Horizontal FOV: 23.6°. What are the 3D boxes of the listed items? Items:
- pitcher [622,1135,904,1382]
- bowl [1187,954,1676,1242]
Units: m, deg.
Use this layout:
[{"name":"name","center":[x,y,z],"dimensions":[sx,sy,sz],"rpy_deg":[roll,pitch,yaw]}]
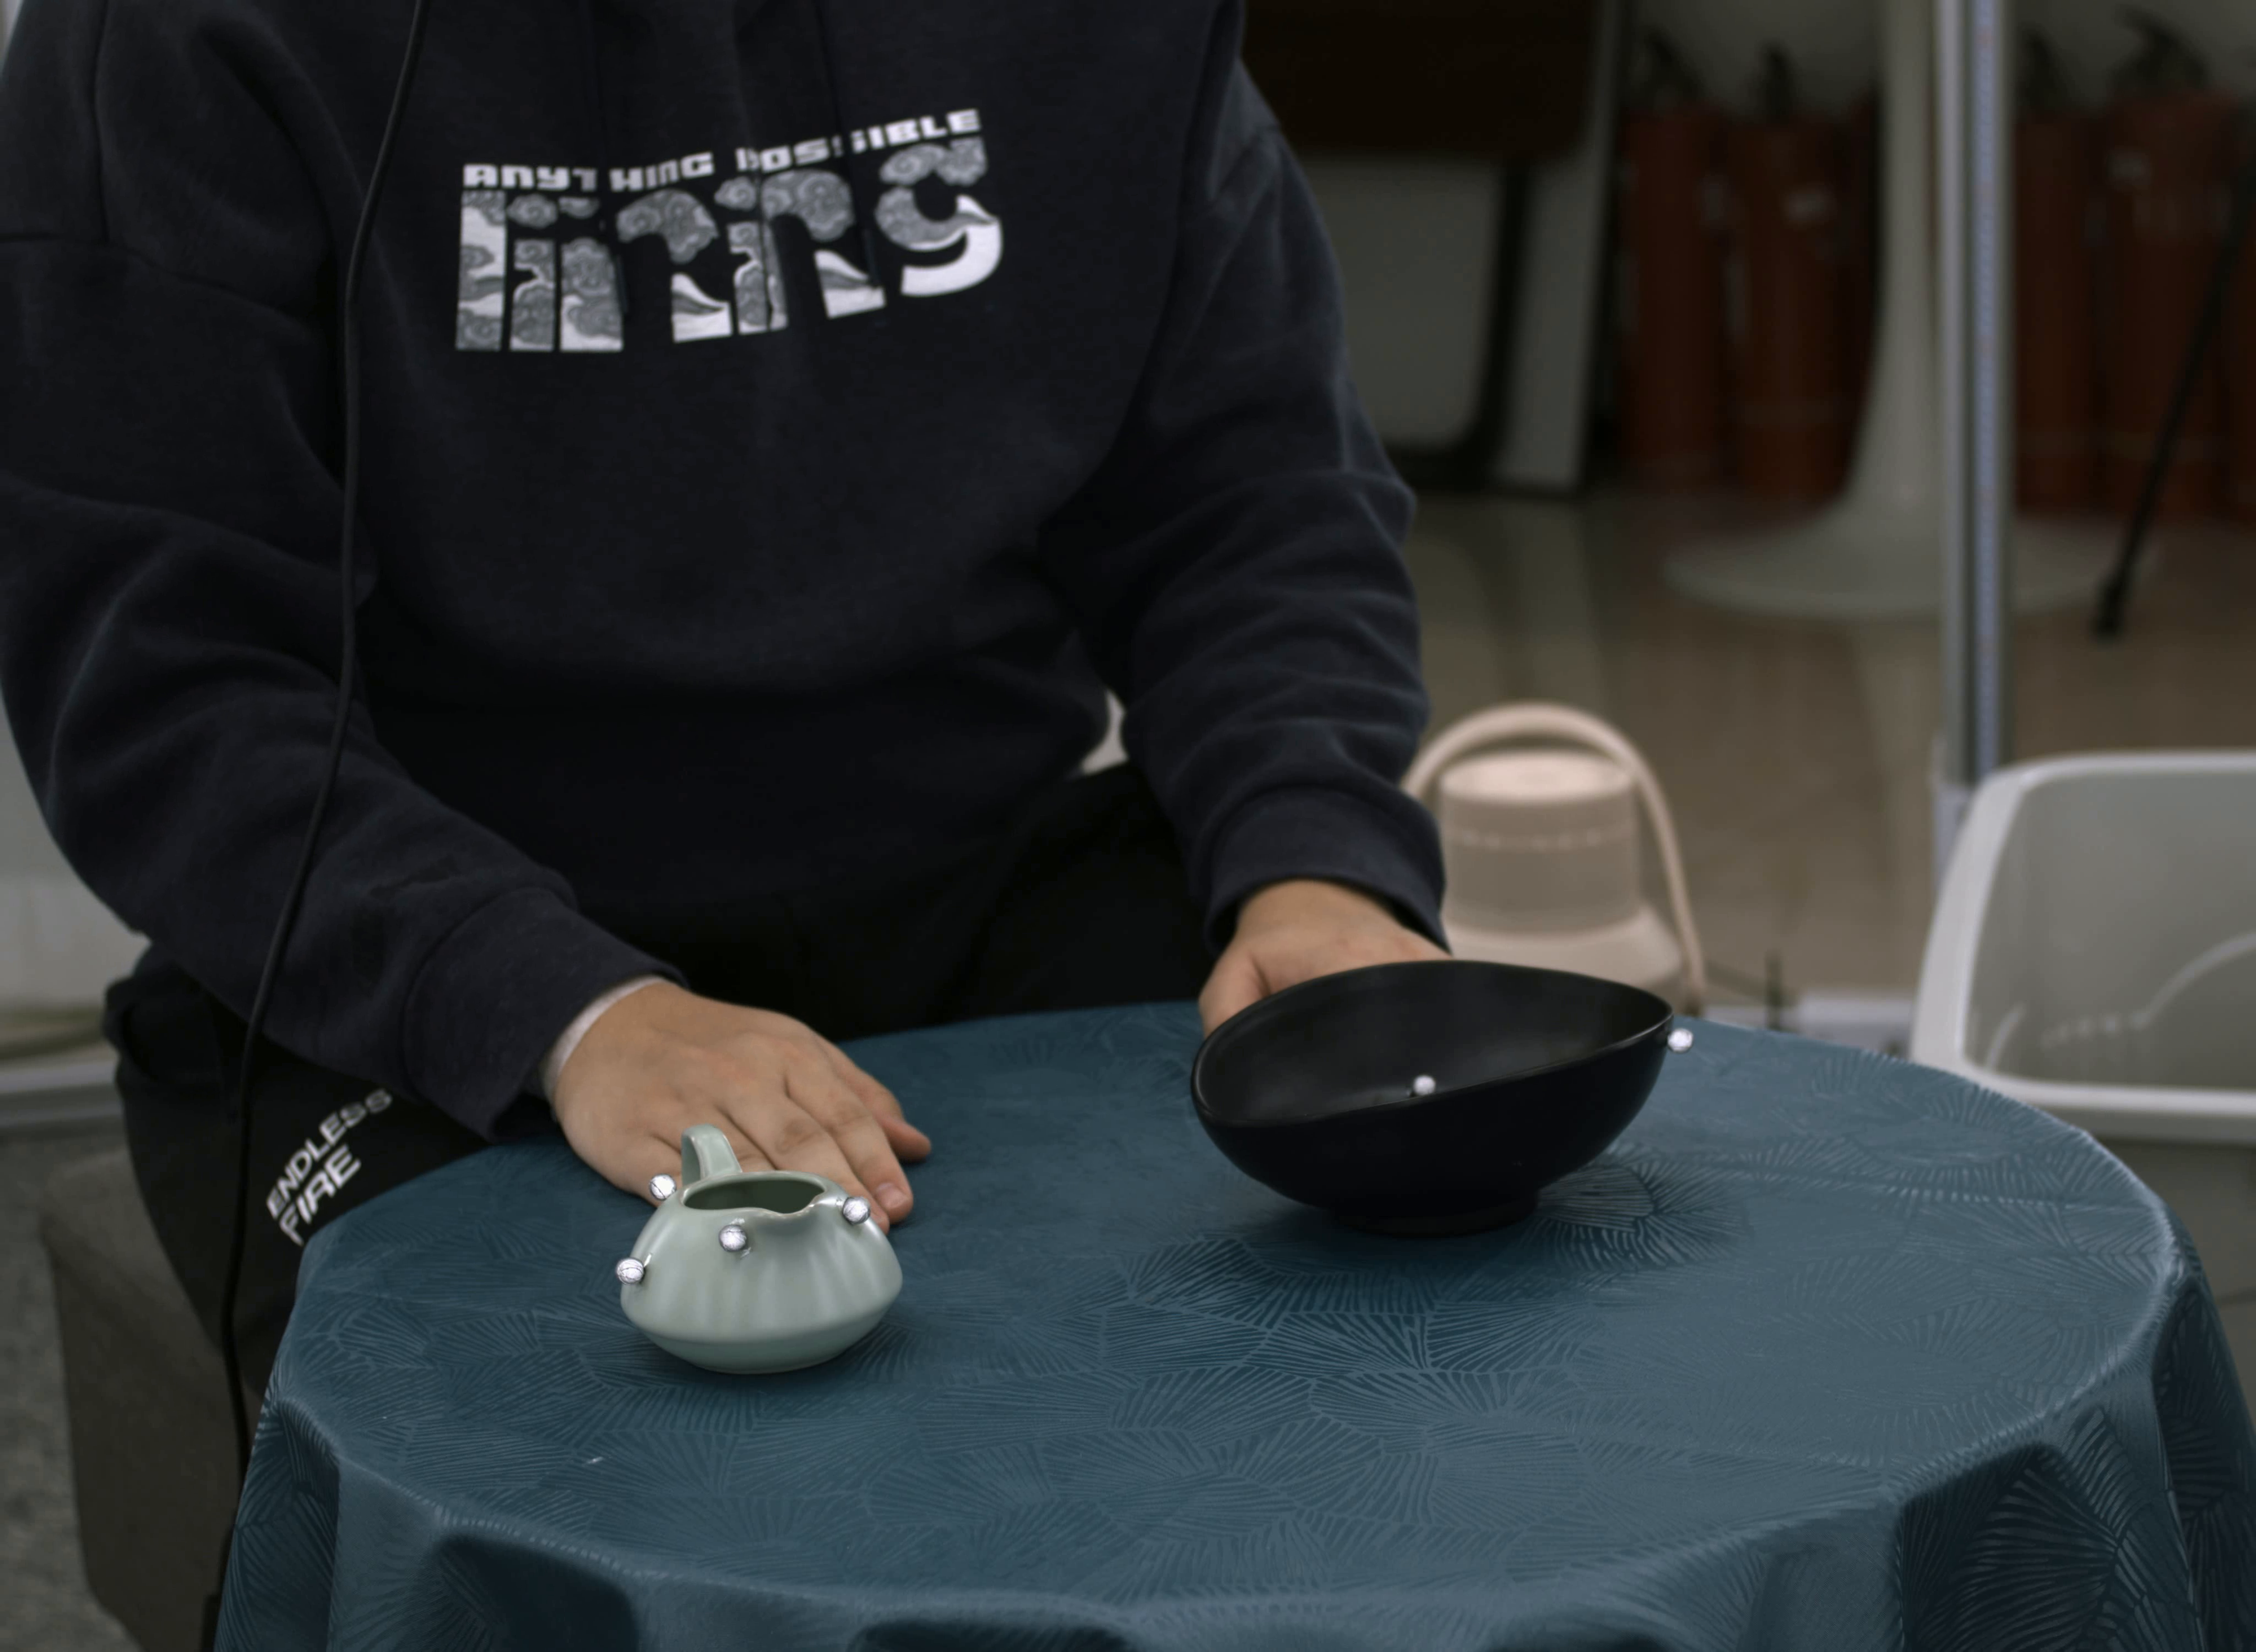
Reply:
[{"name":"pitcher","center":[-0.115,0.132,1.646],"dimensions":[0.084,0.061,0.109],"rpy_deg":[-8,12,-21]},{"name":"bowl","center":[0.100,0.092,1.731],"dimensions":[0.166,0.067,0.139],"rpy_deg":[-14,16,-33]}]
